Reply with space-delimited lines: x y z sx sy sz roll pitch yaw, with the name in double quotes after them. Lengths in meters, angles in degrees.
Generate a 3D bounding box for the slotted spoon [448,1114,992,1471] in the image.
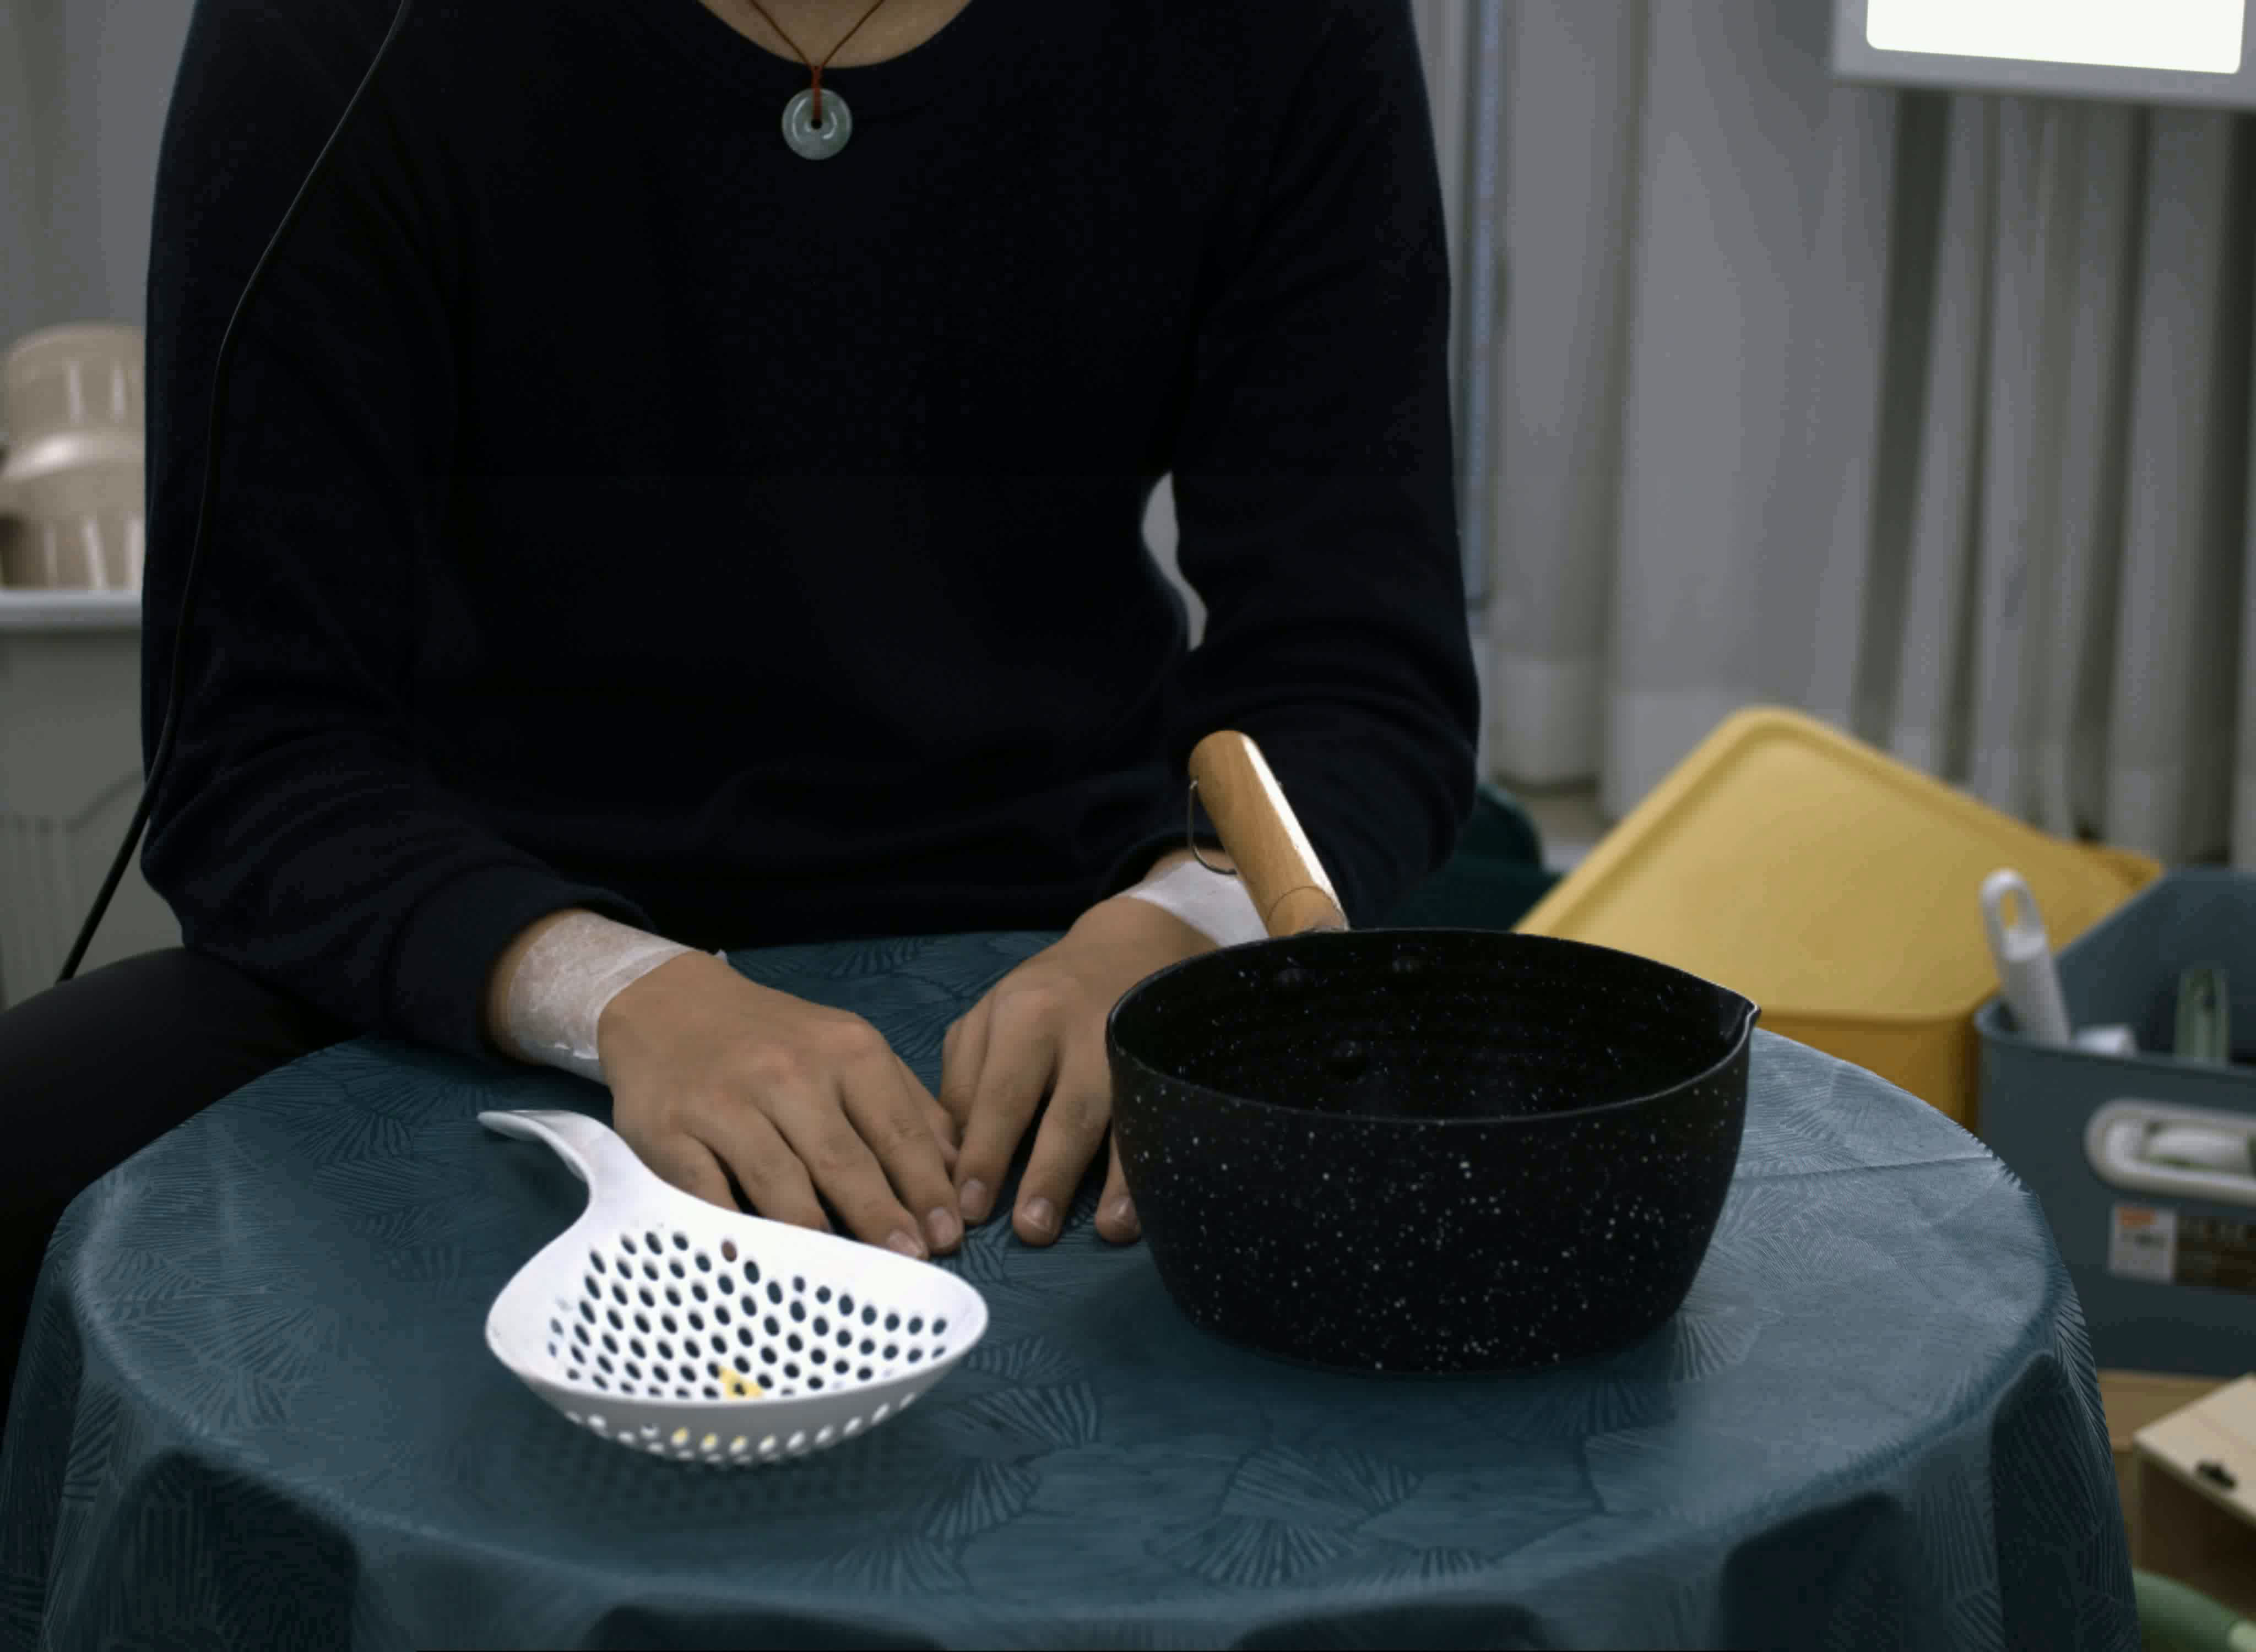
-0.143 0.119 1.513 0.137 0.051 0.344 -7 19 -19 "slotted spoon"

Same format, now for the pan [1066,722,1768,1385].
0.068 0.063 1.598 0.207 0.109 0.339 -5 18 -14 "pan"
